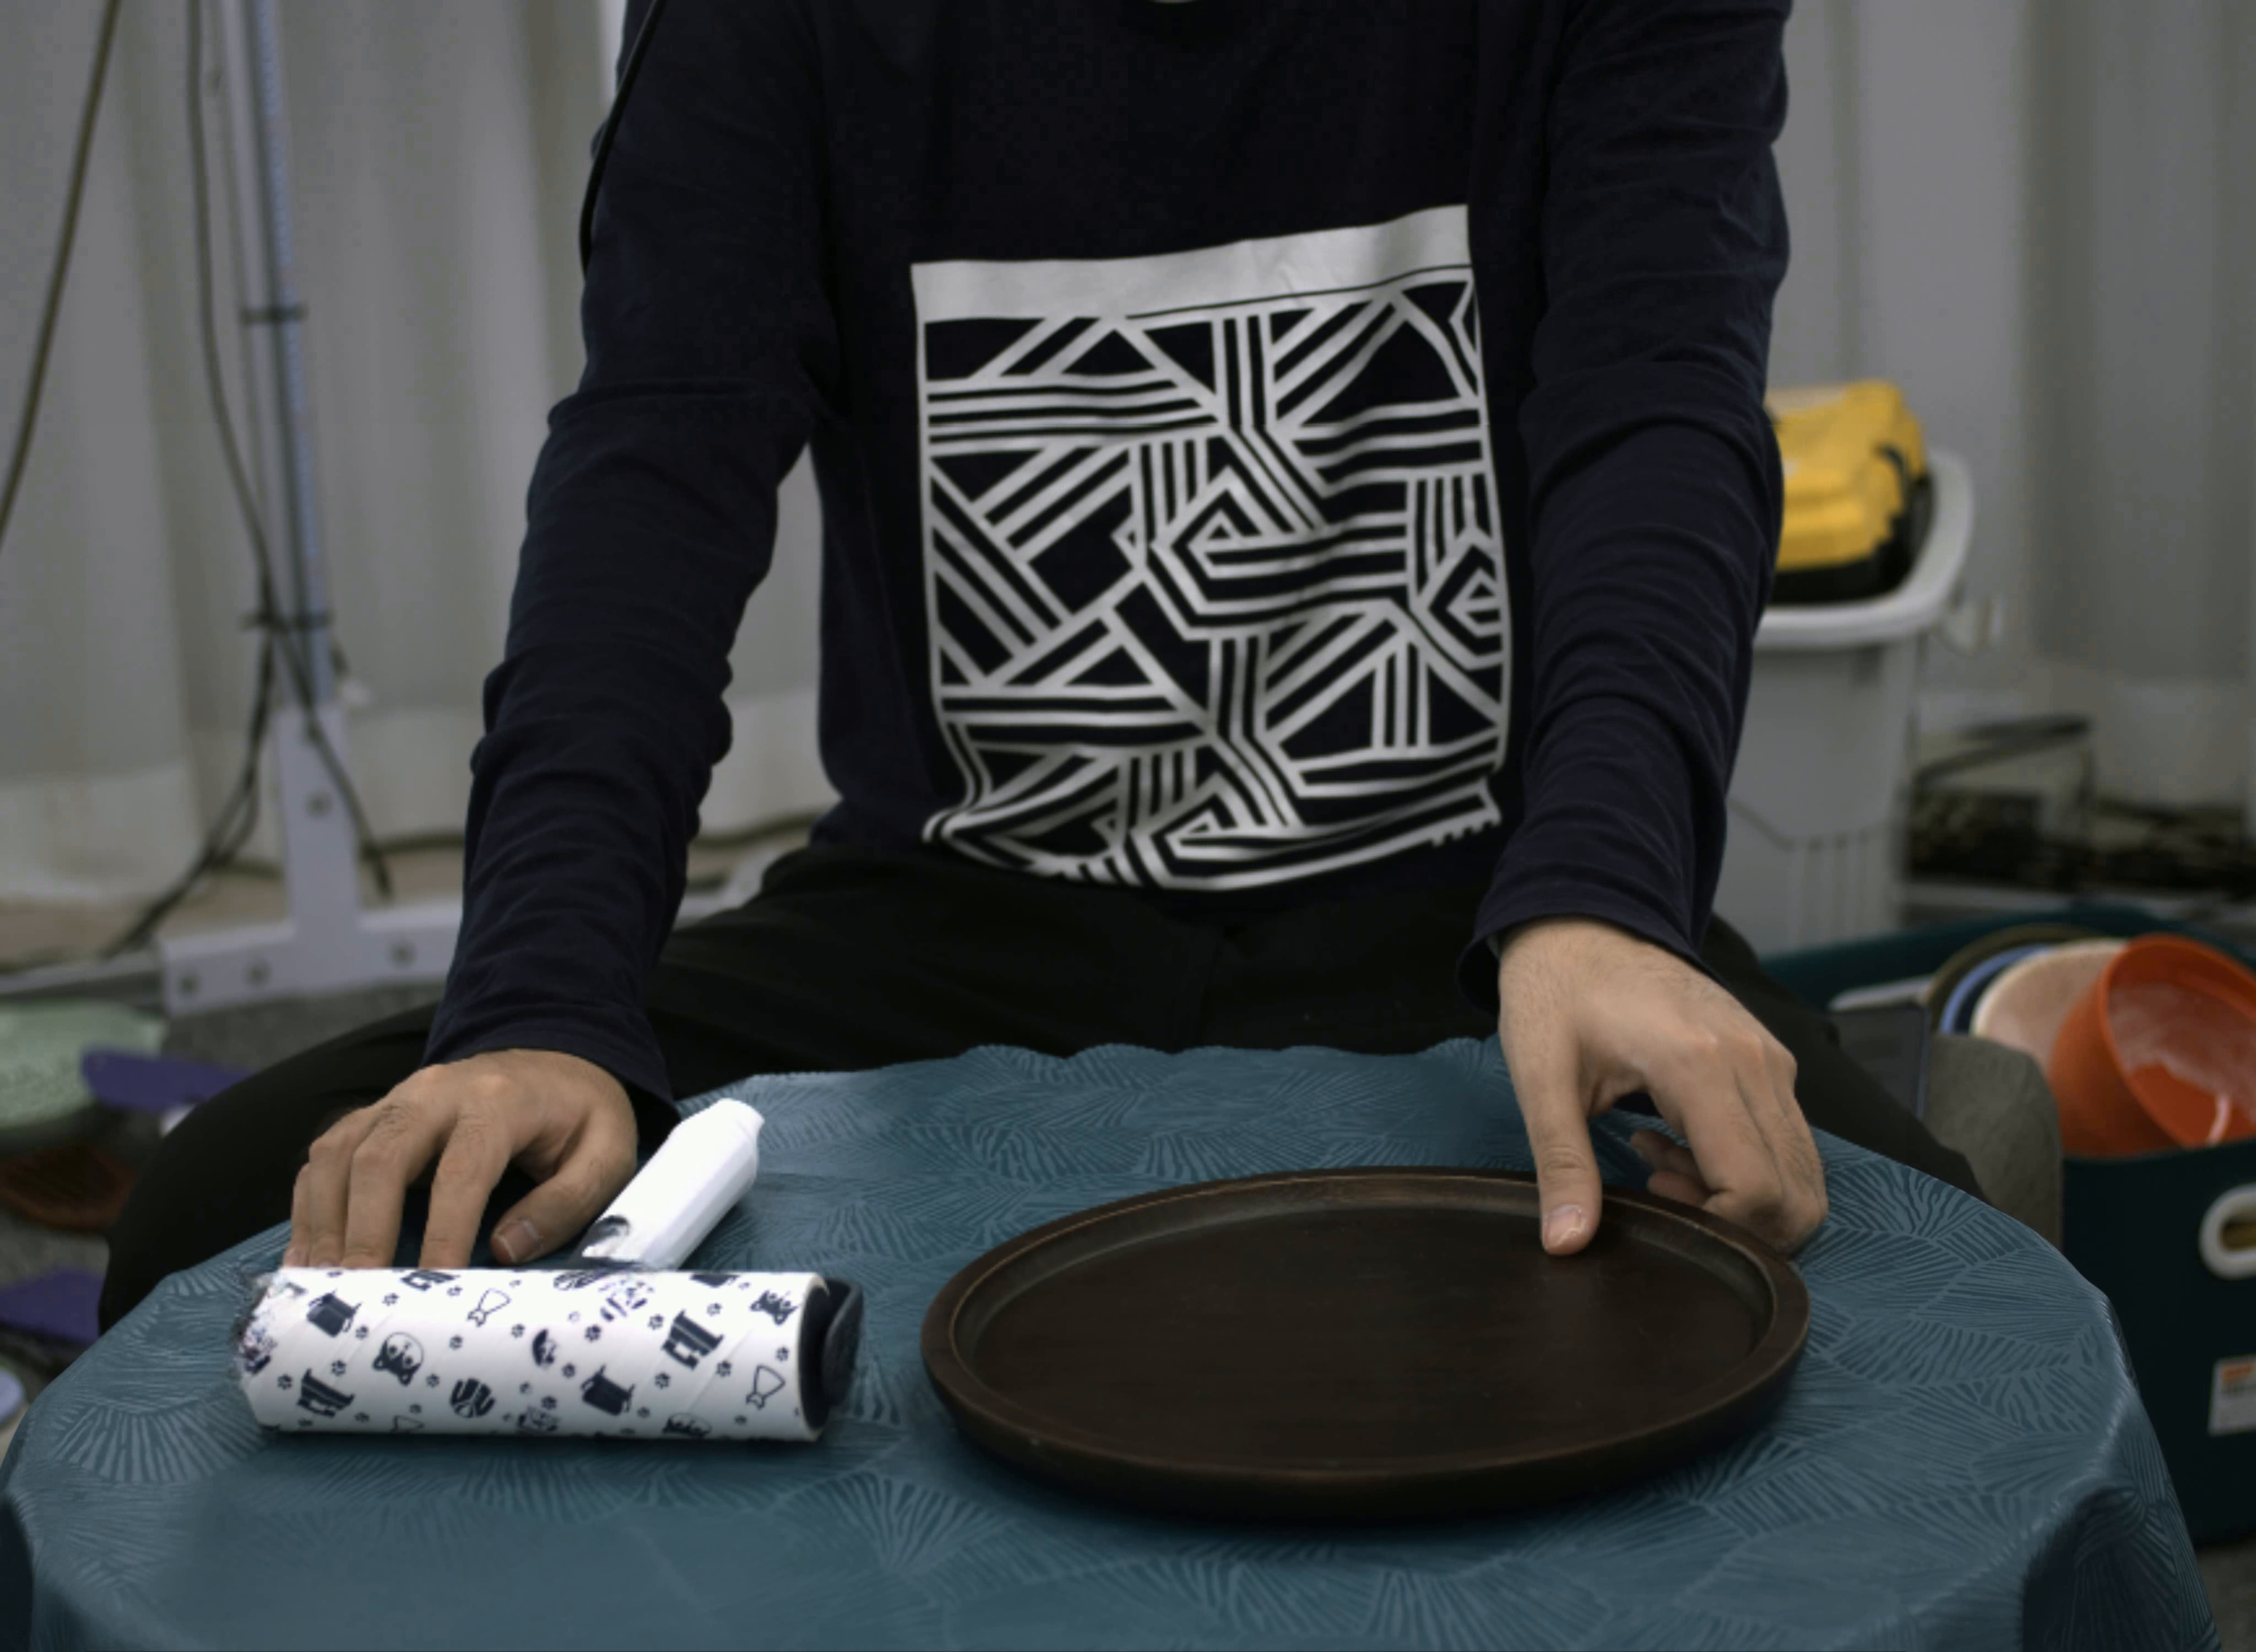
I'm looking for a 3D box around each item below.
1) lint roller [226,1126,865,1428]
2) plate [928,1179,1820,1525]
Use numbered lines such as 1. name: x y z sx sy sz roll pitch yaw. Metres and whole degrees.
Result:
1. lint roller: -0.149 0.124 1.630 0.176 0.050 0.248 -1 13 10
2. plate: 0.069 0.146 1.544 0.254 0.029 0.256 -2 13 0
